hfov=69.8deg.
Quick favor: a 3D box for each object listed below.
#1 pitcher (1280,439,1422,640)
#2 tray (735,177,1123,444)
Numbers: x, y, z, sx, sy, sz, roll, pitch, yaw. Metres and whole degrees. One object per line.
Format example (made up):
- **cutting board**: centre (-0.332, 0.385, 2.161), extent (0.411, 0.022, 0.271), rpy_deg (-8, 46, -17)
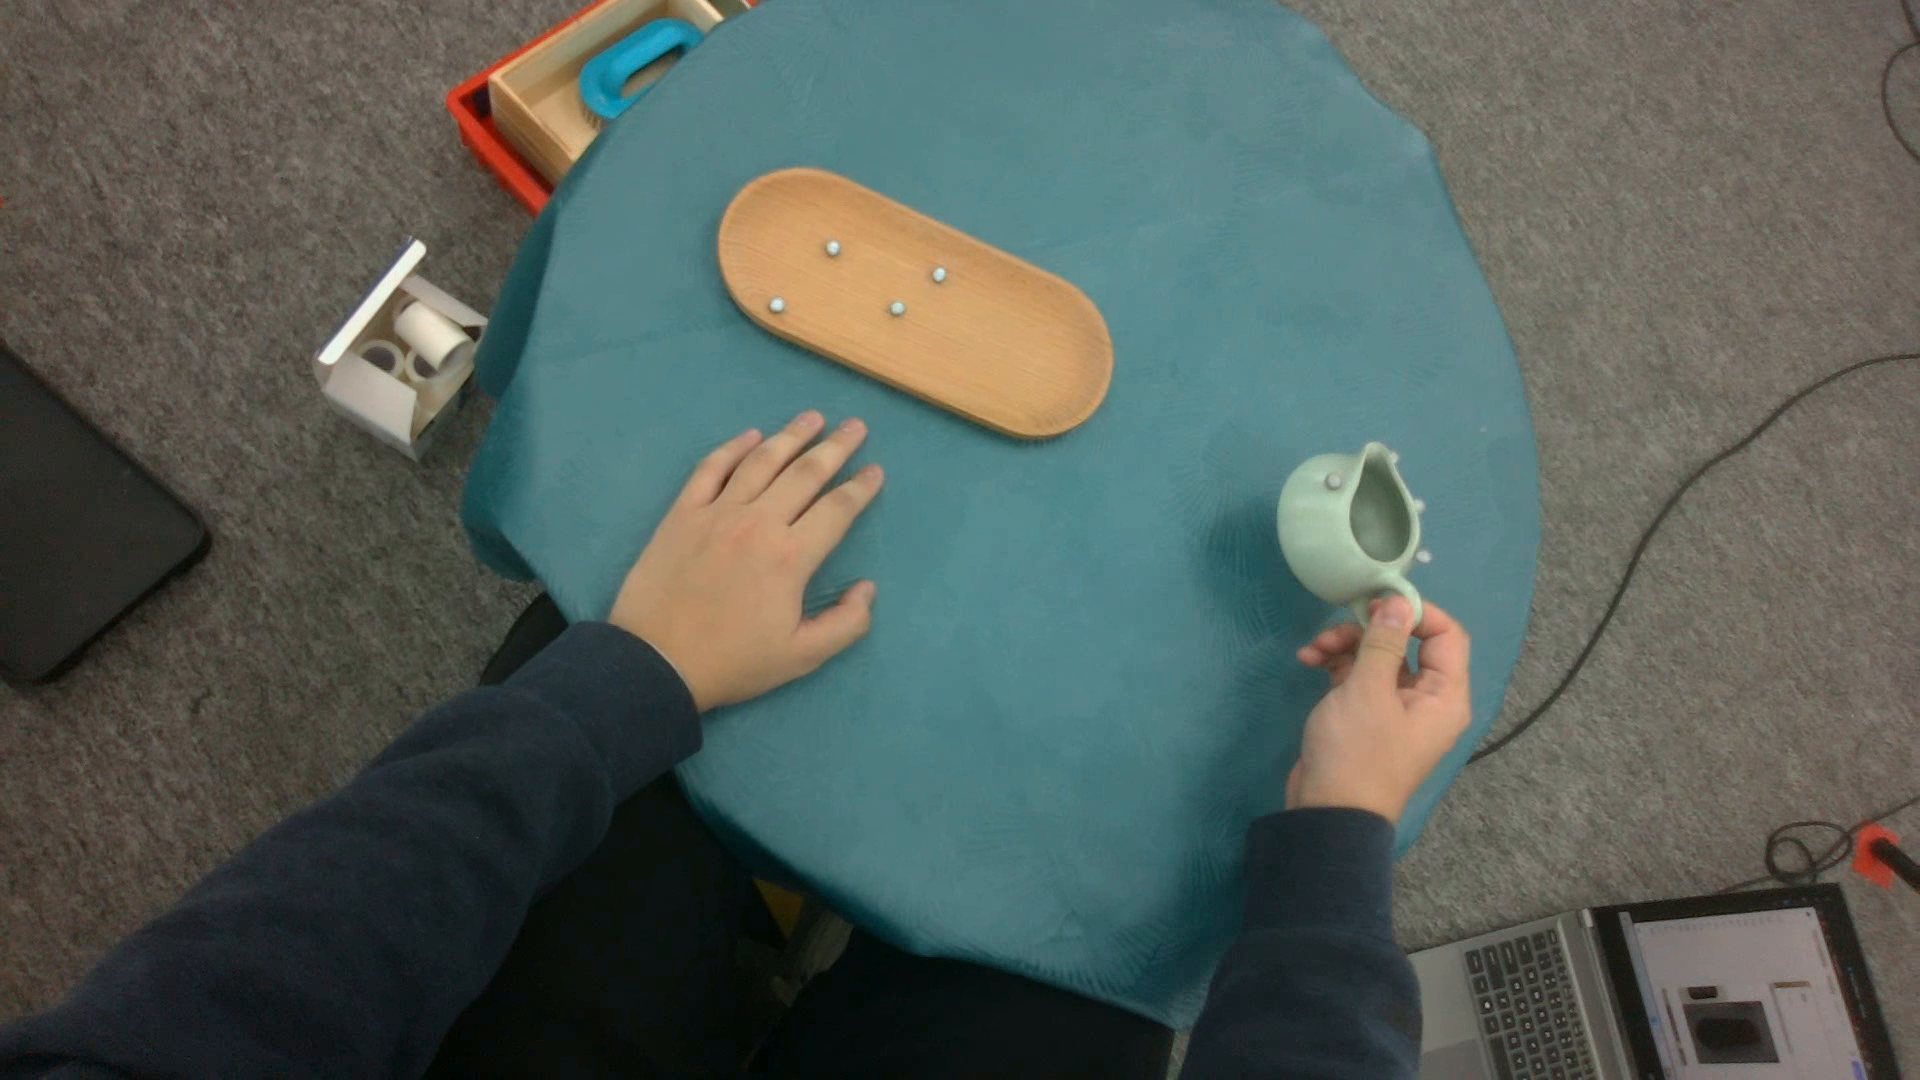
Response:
- **pitcher**: centre (0.219, 0.002, 0.751), extent (0.086, 0.060, 0.108), rpy_deg (-11, 86, -26)
- **tray**: centre (-0.016, -0.128, 0.778), extent (0.231, 0.020, 0.102), rpy_deg (23, 73, -10)
